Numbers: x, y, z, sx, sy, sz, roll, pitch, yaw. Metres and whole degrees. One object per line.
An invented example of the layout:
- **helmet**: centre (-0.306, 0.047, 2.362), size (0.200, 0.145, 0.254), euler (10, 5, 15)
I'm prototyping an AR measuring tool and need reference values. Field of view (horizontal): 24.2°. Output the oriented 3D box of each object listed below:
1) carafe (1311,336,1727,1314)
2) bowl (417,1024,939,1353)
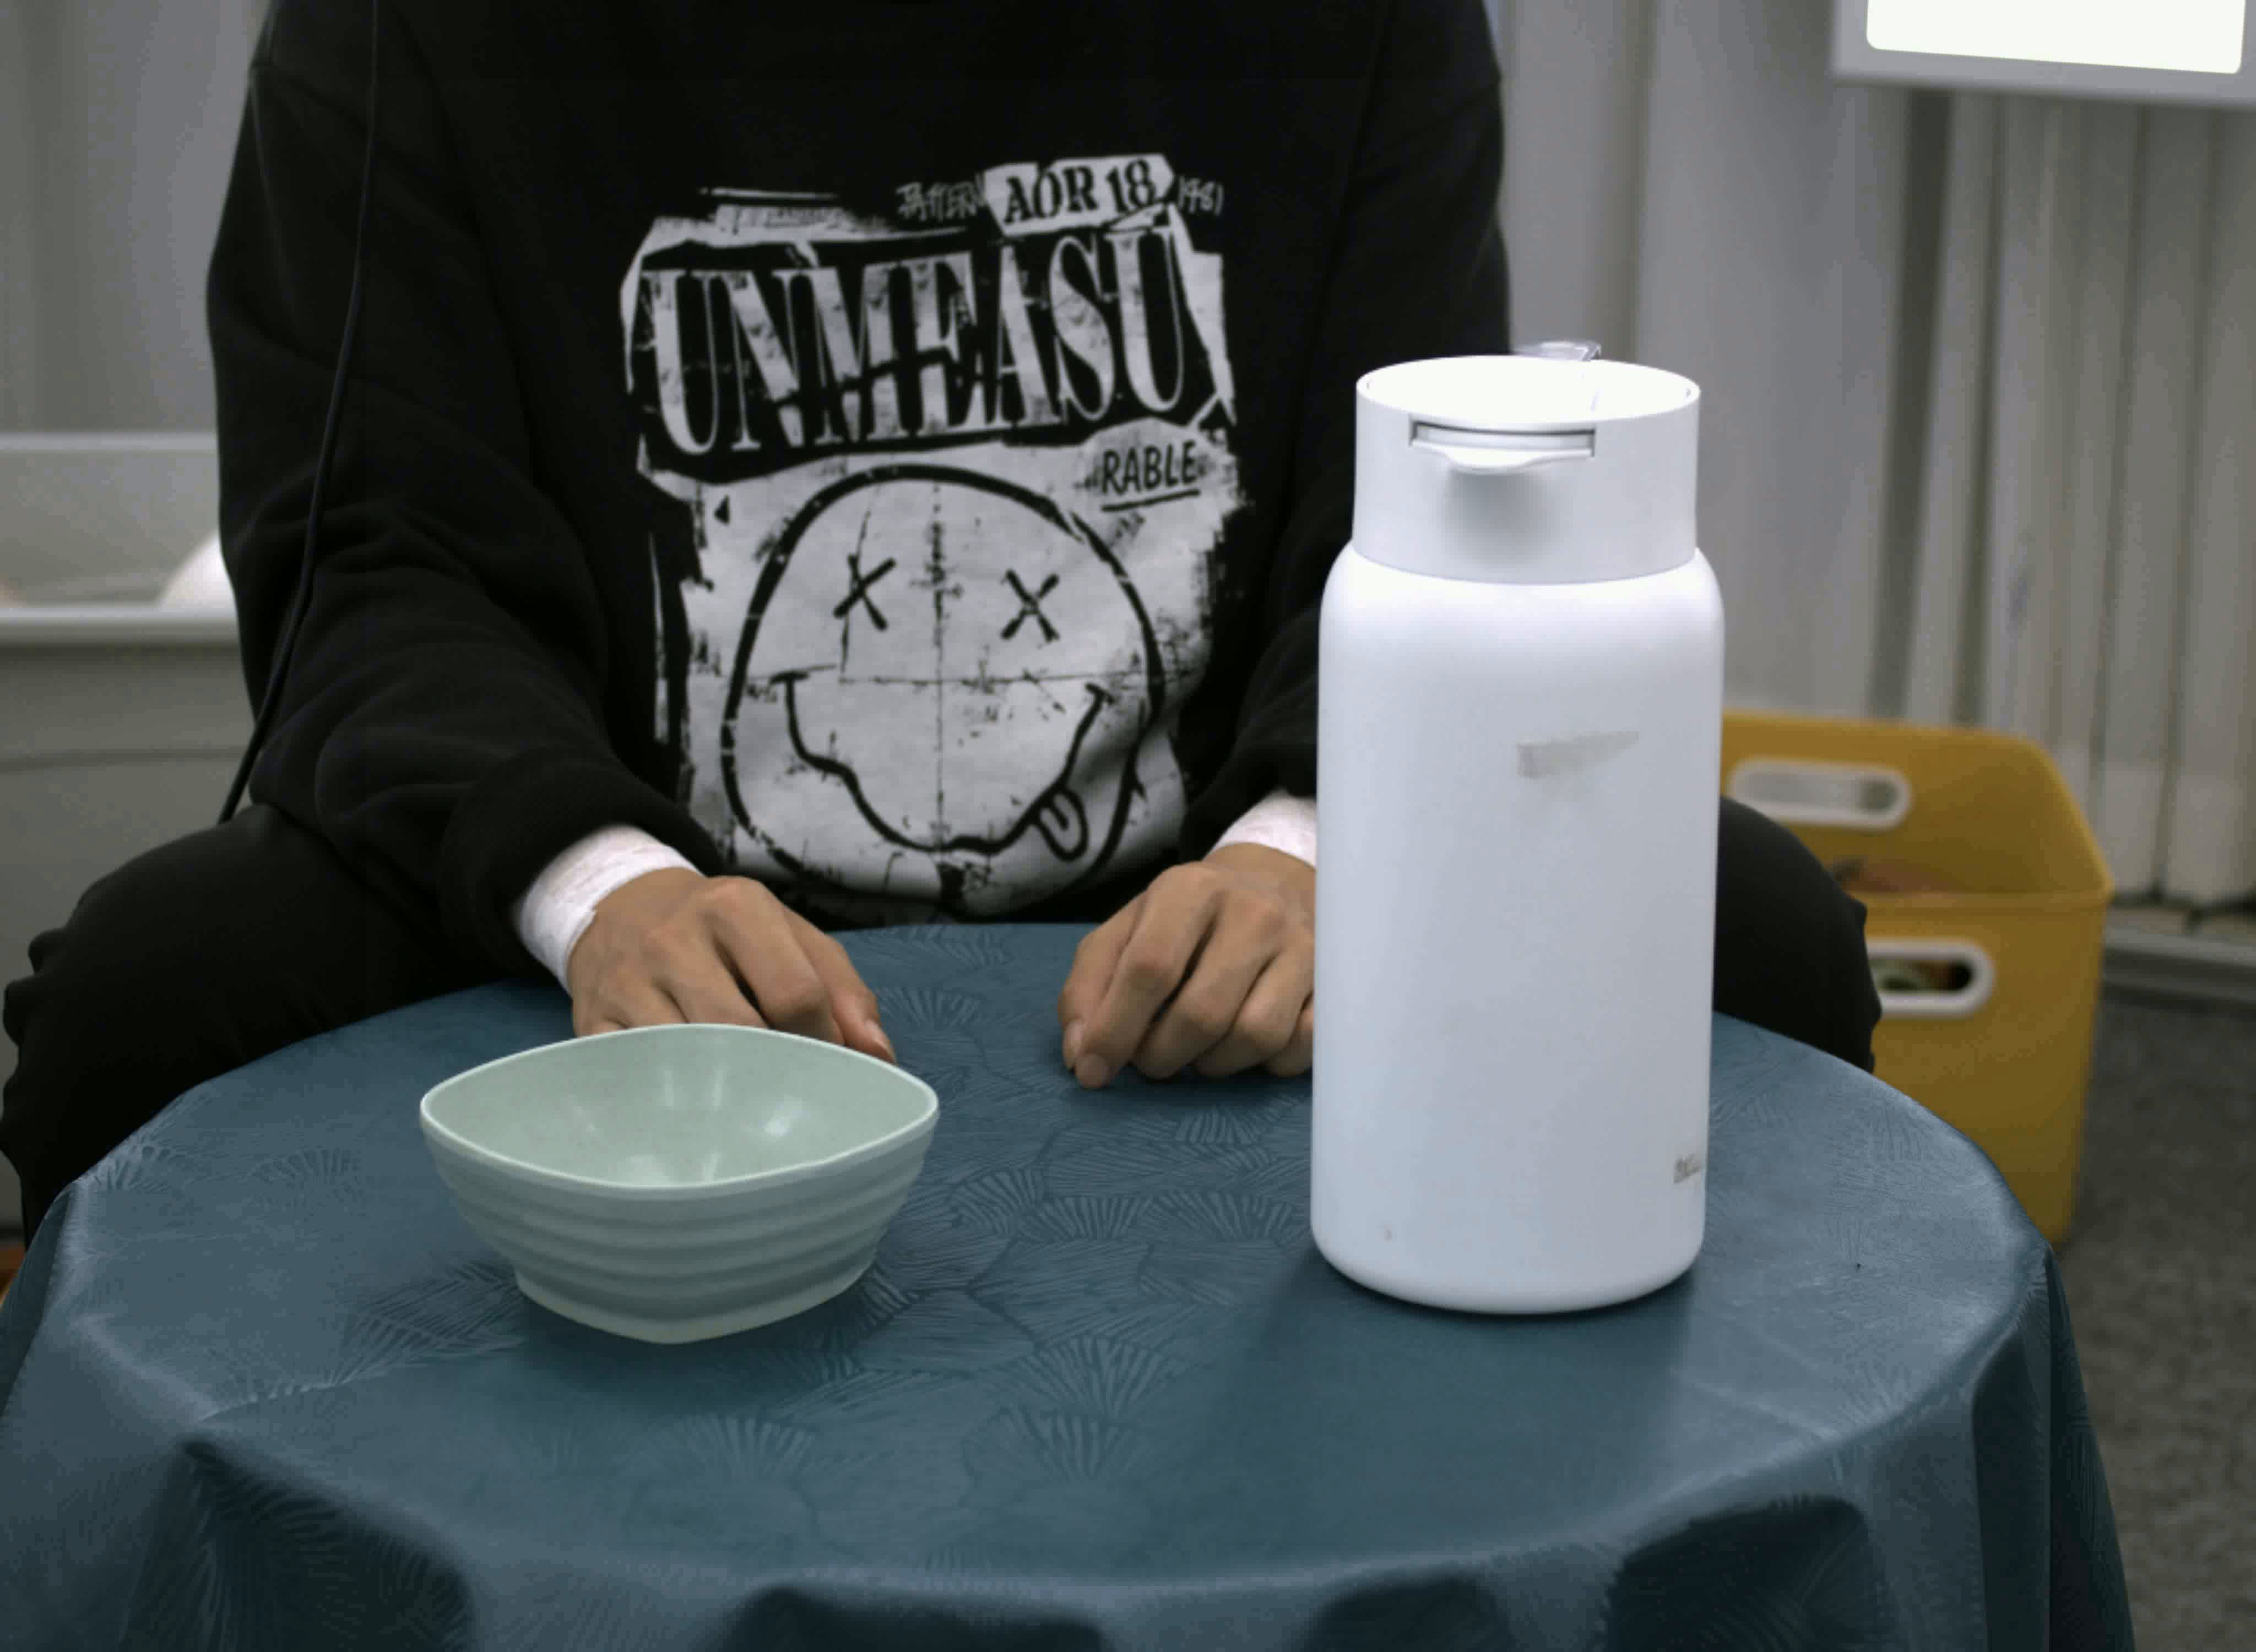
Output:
- **carafe**: centre (0.116, -0.005, 1.547), size (0.123, 0.271, 0.172), euler (2, 16, 12)
- **bowl**: centre (-0.130, 0.108, 1.532), size (0.151, 0.059, 0.150), euler (1, 16, 0)
